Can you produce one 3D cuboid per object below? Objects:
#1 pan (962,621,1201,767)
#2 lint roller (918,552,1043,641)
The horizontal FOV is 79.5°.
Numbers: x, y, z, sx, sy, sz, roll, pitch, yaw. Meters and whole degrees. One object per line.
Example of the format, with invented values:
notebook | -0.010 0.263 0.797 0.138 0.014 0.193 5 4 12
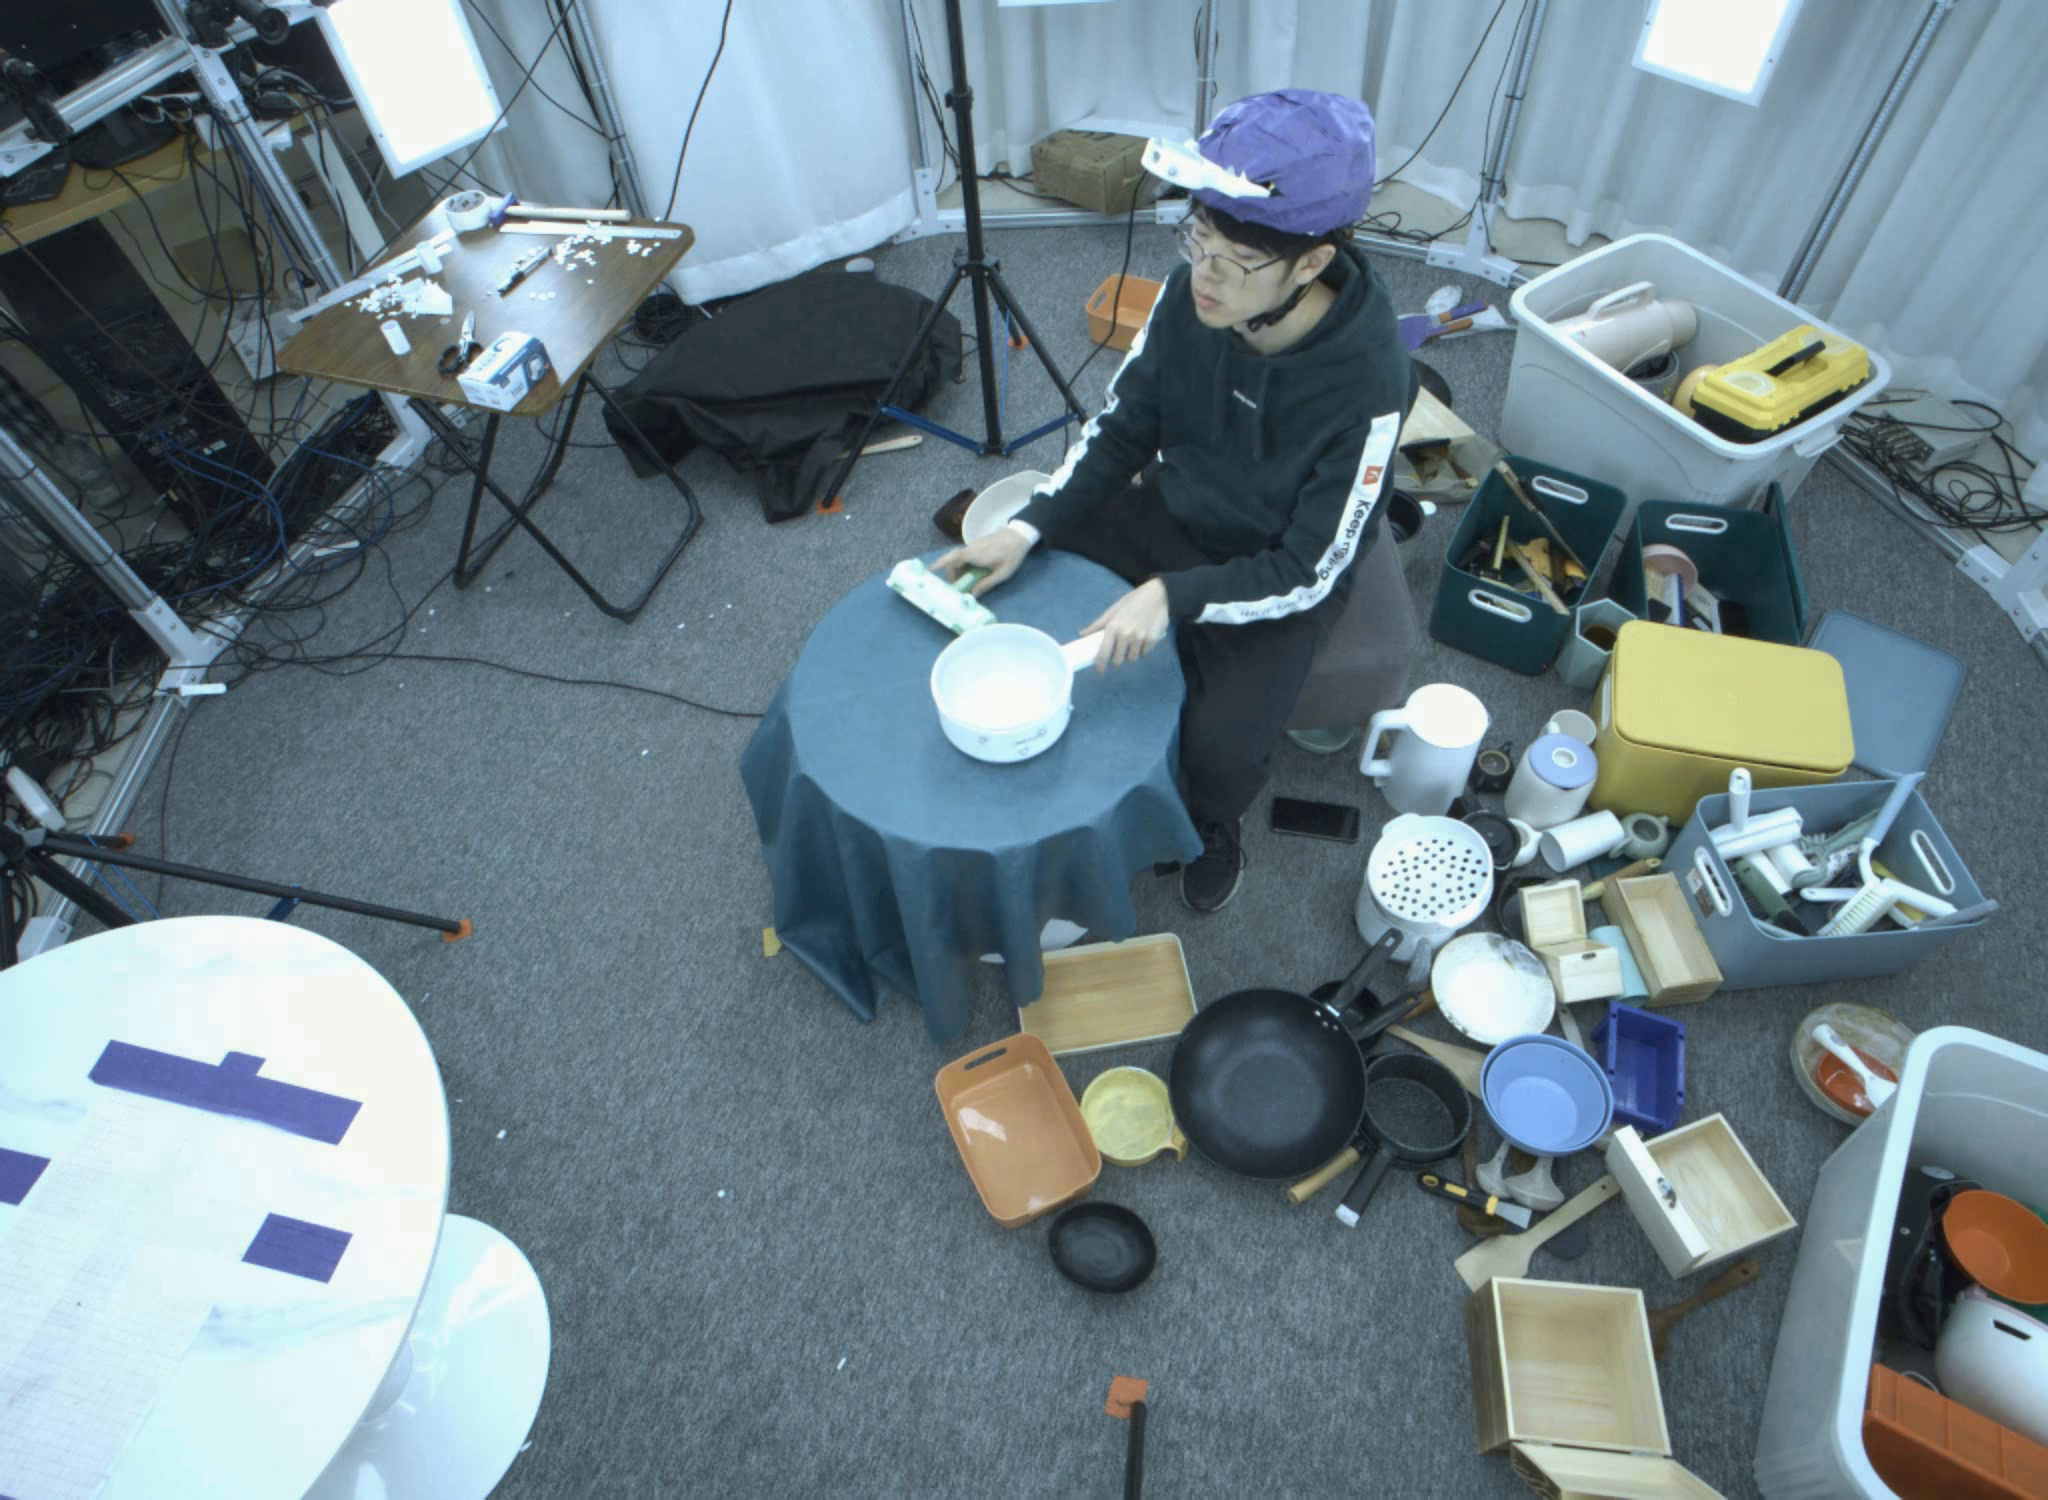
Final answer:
pan | 0.086 -0.096 1.787 0.357 0.103 0.197 -19 55 -12
lint roller | -0.041 -0.272 1.931 0.195 0.083 0.184 38 70 25
